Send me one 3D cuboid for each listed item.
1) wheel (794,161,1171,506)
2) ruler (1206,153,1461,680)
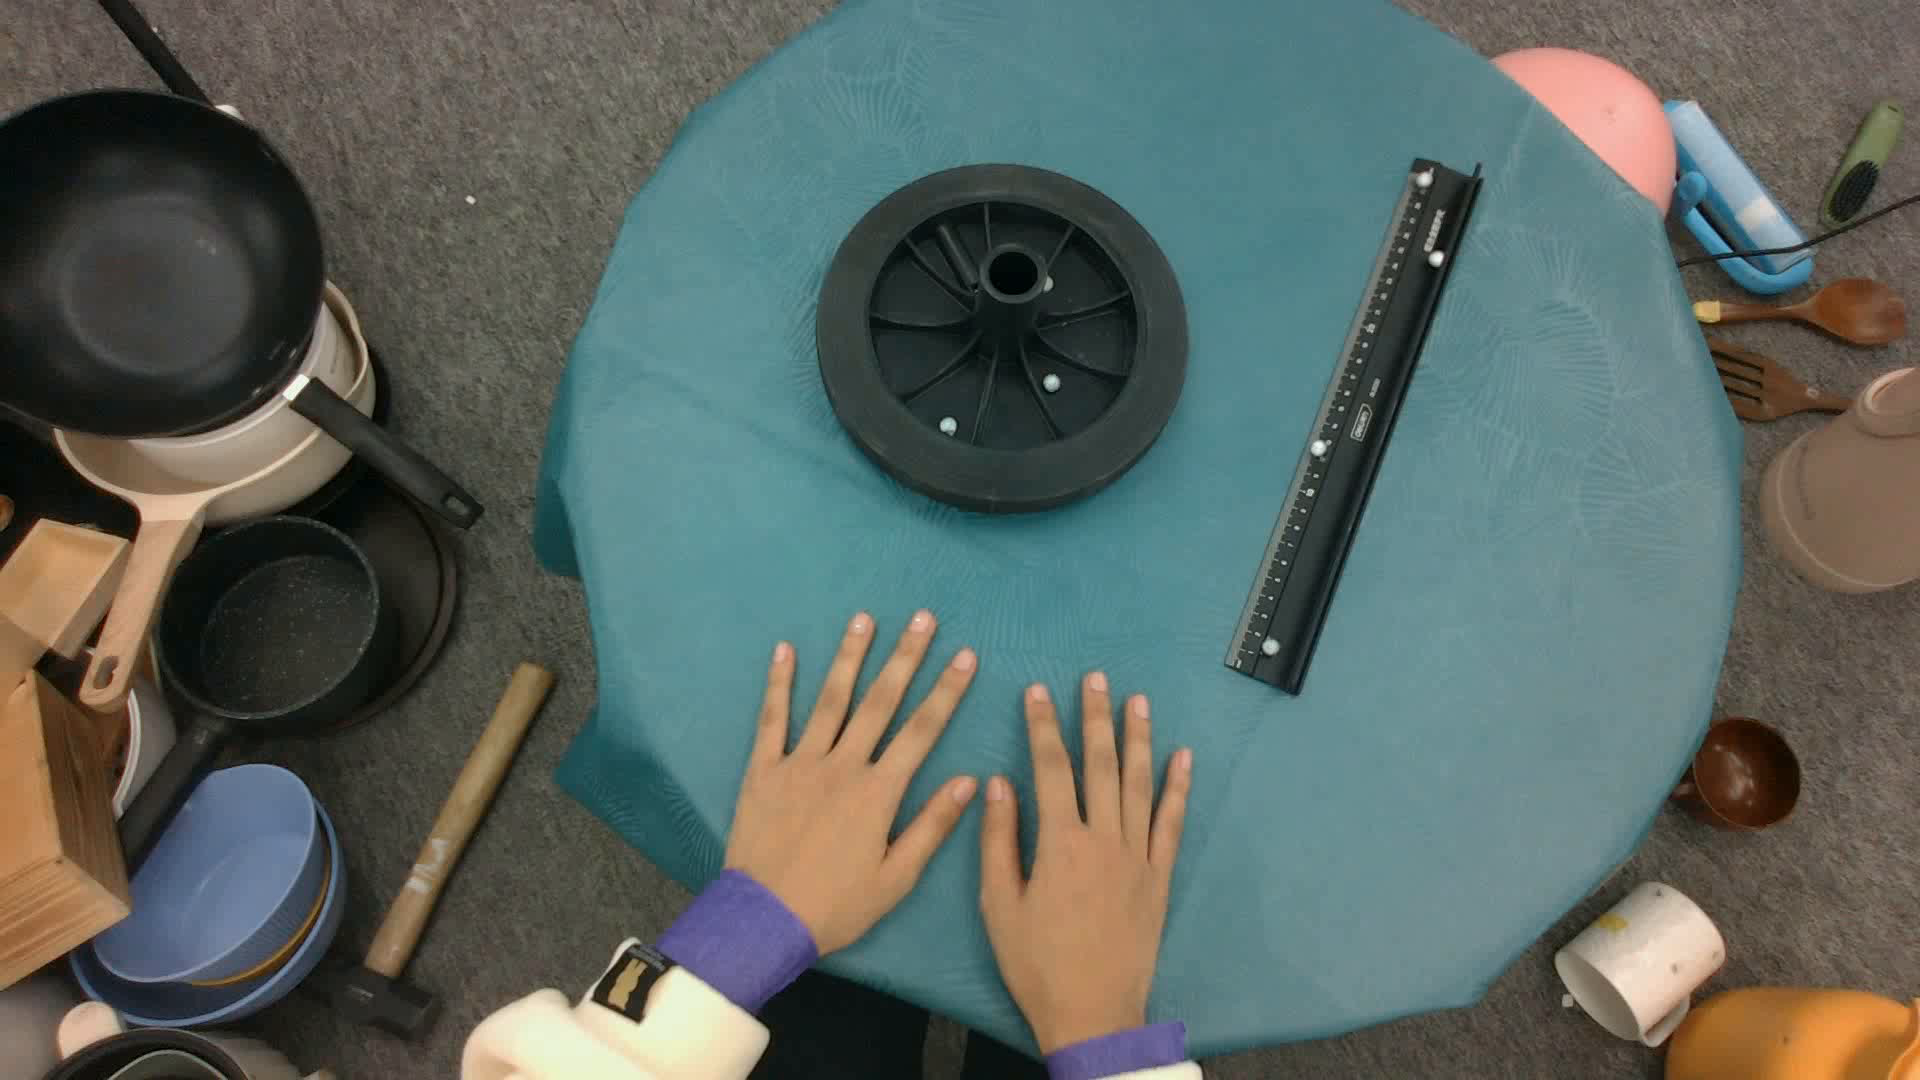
[{"bbox_3d":[0.013,-0.114,0.675,0.190,0.079,0.188,39,73,9],"label":"wheel"},{"bbox_3d":[0.198,-0.076,0.707,0.039,0.017,0.313,23,72,7],"label":"ruler"}]
